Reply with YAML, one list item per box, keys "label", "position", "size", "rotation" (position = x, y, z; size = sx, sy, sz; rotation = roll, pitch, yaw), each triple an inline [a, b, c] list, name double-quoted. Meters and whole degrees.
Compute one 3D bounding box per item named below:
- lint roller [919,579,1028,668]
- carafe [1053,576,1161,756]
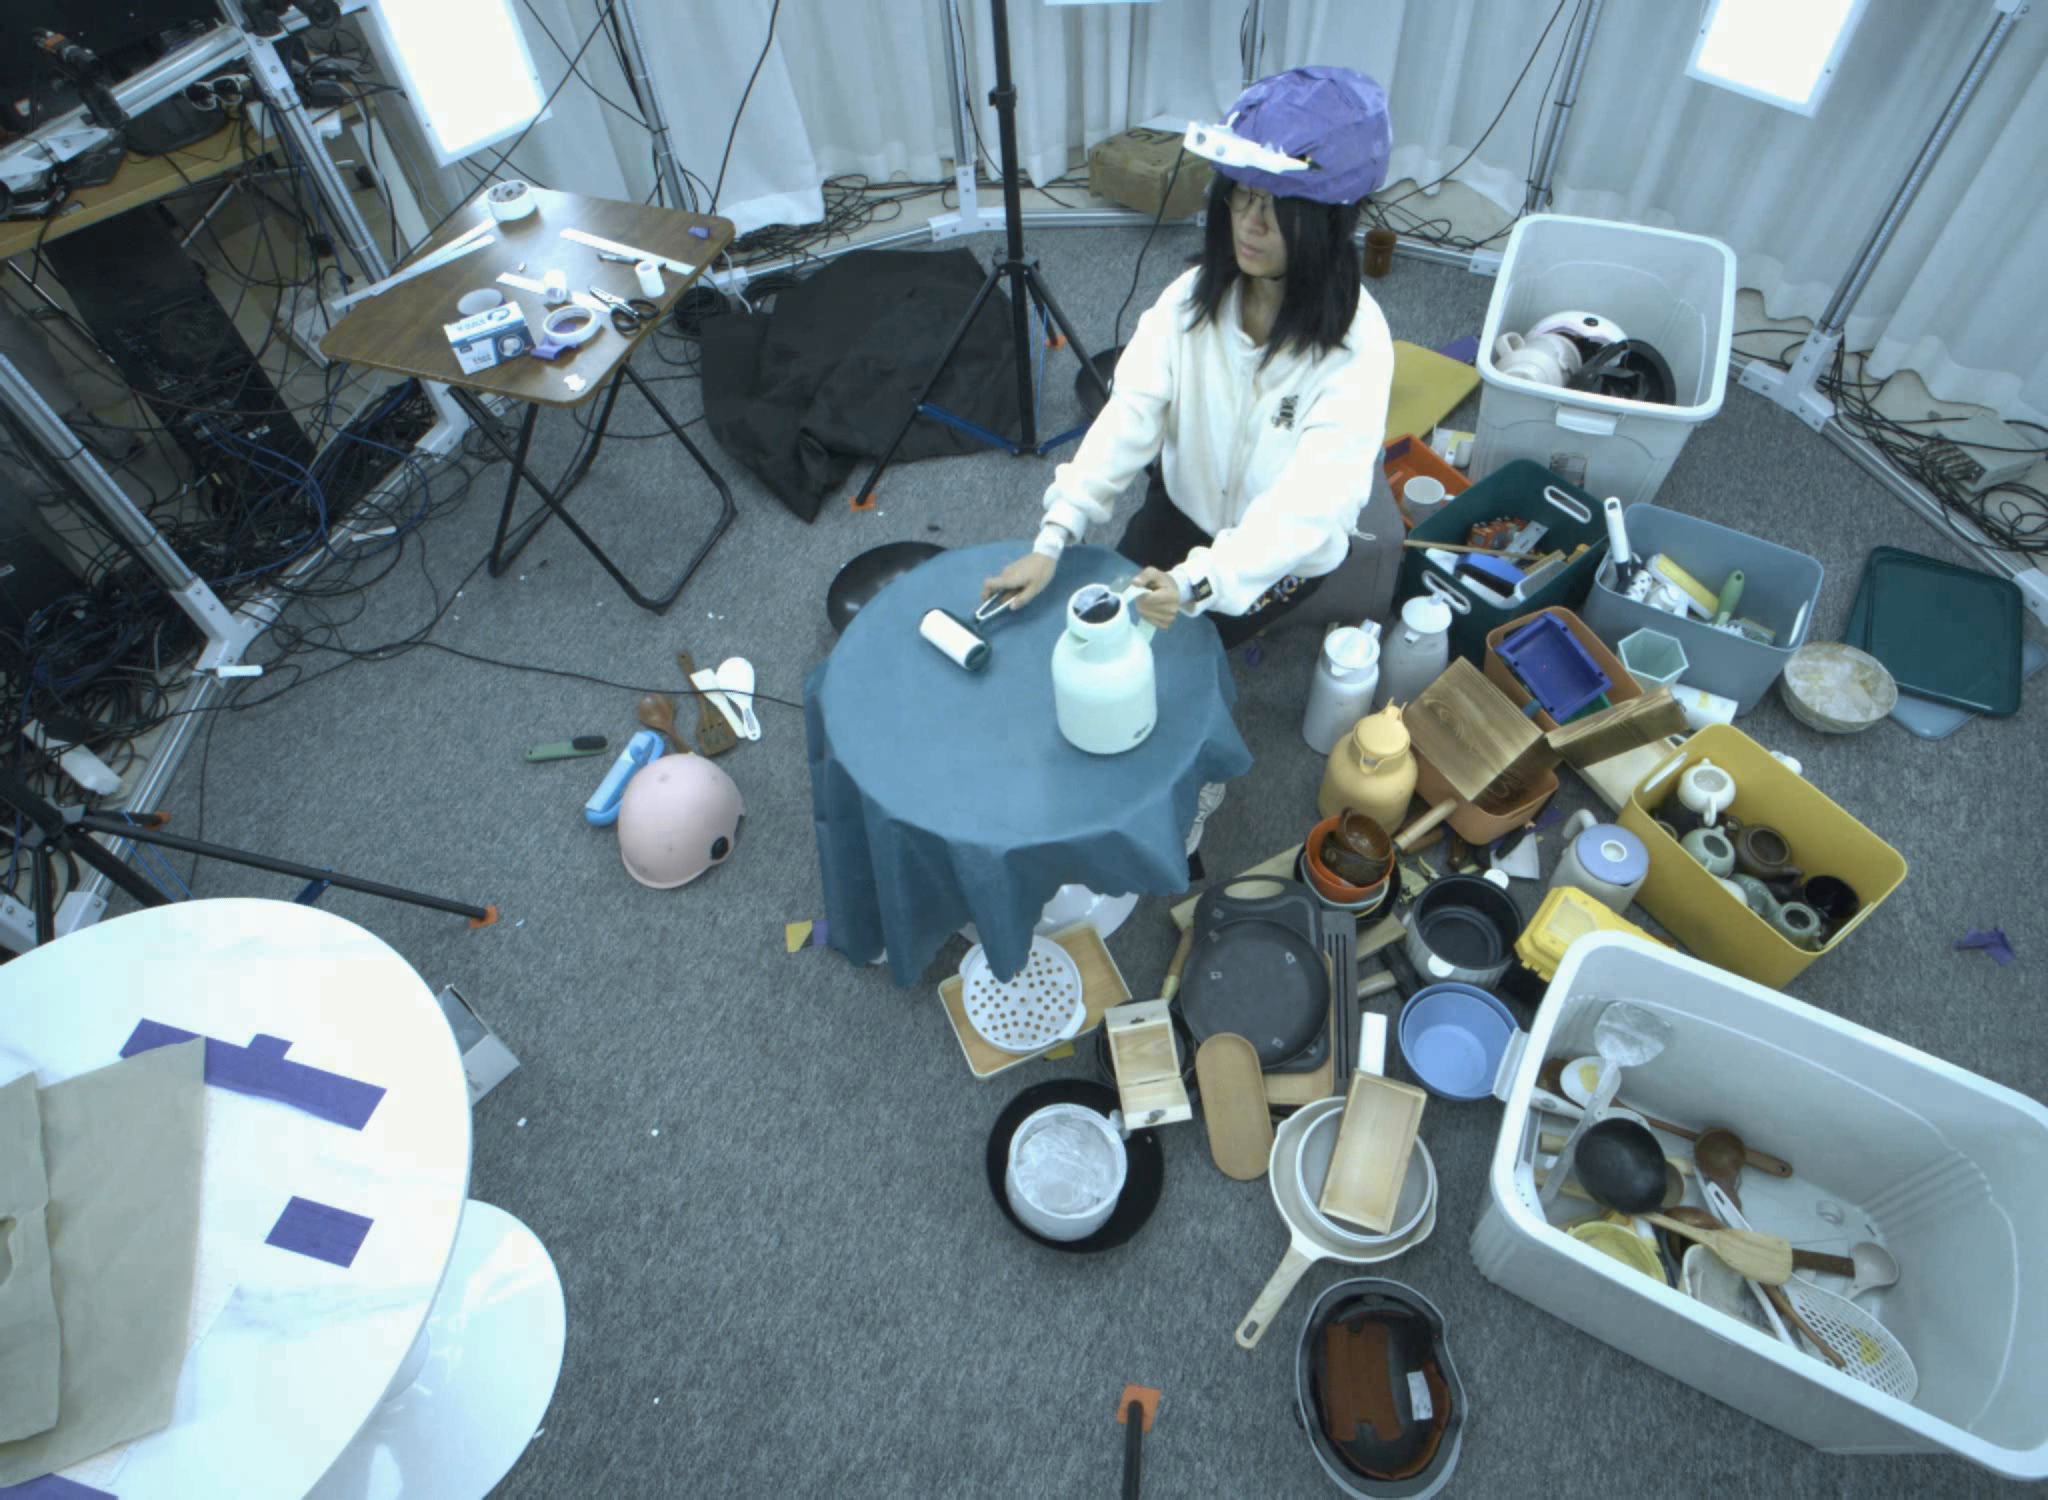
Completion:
- label: "lint roller"
  position: [-0.063, -0.216, 1.898]
  size: [0.132, 0.049, 0.181]
  rotation: [39, 75, 24]
- label: "carafe"
  position: [0.120, -0.124, 1.713]
  size: [0.141, 0.260, 0.188]
  rotation: [35, 63, 28]
